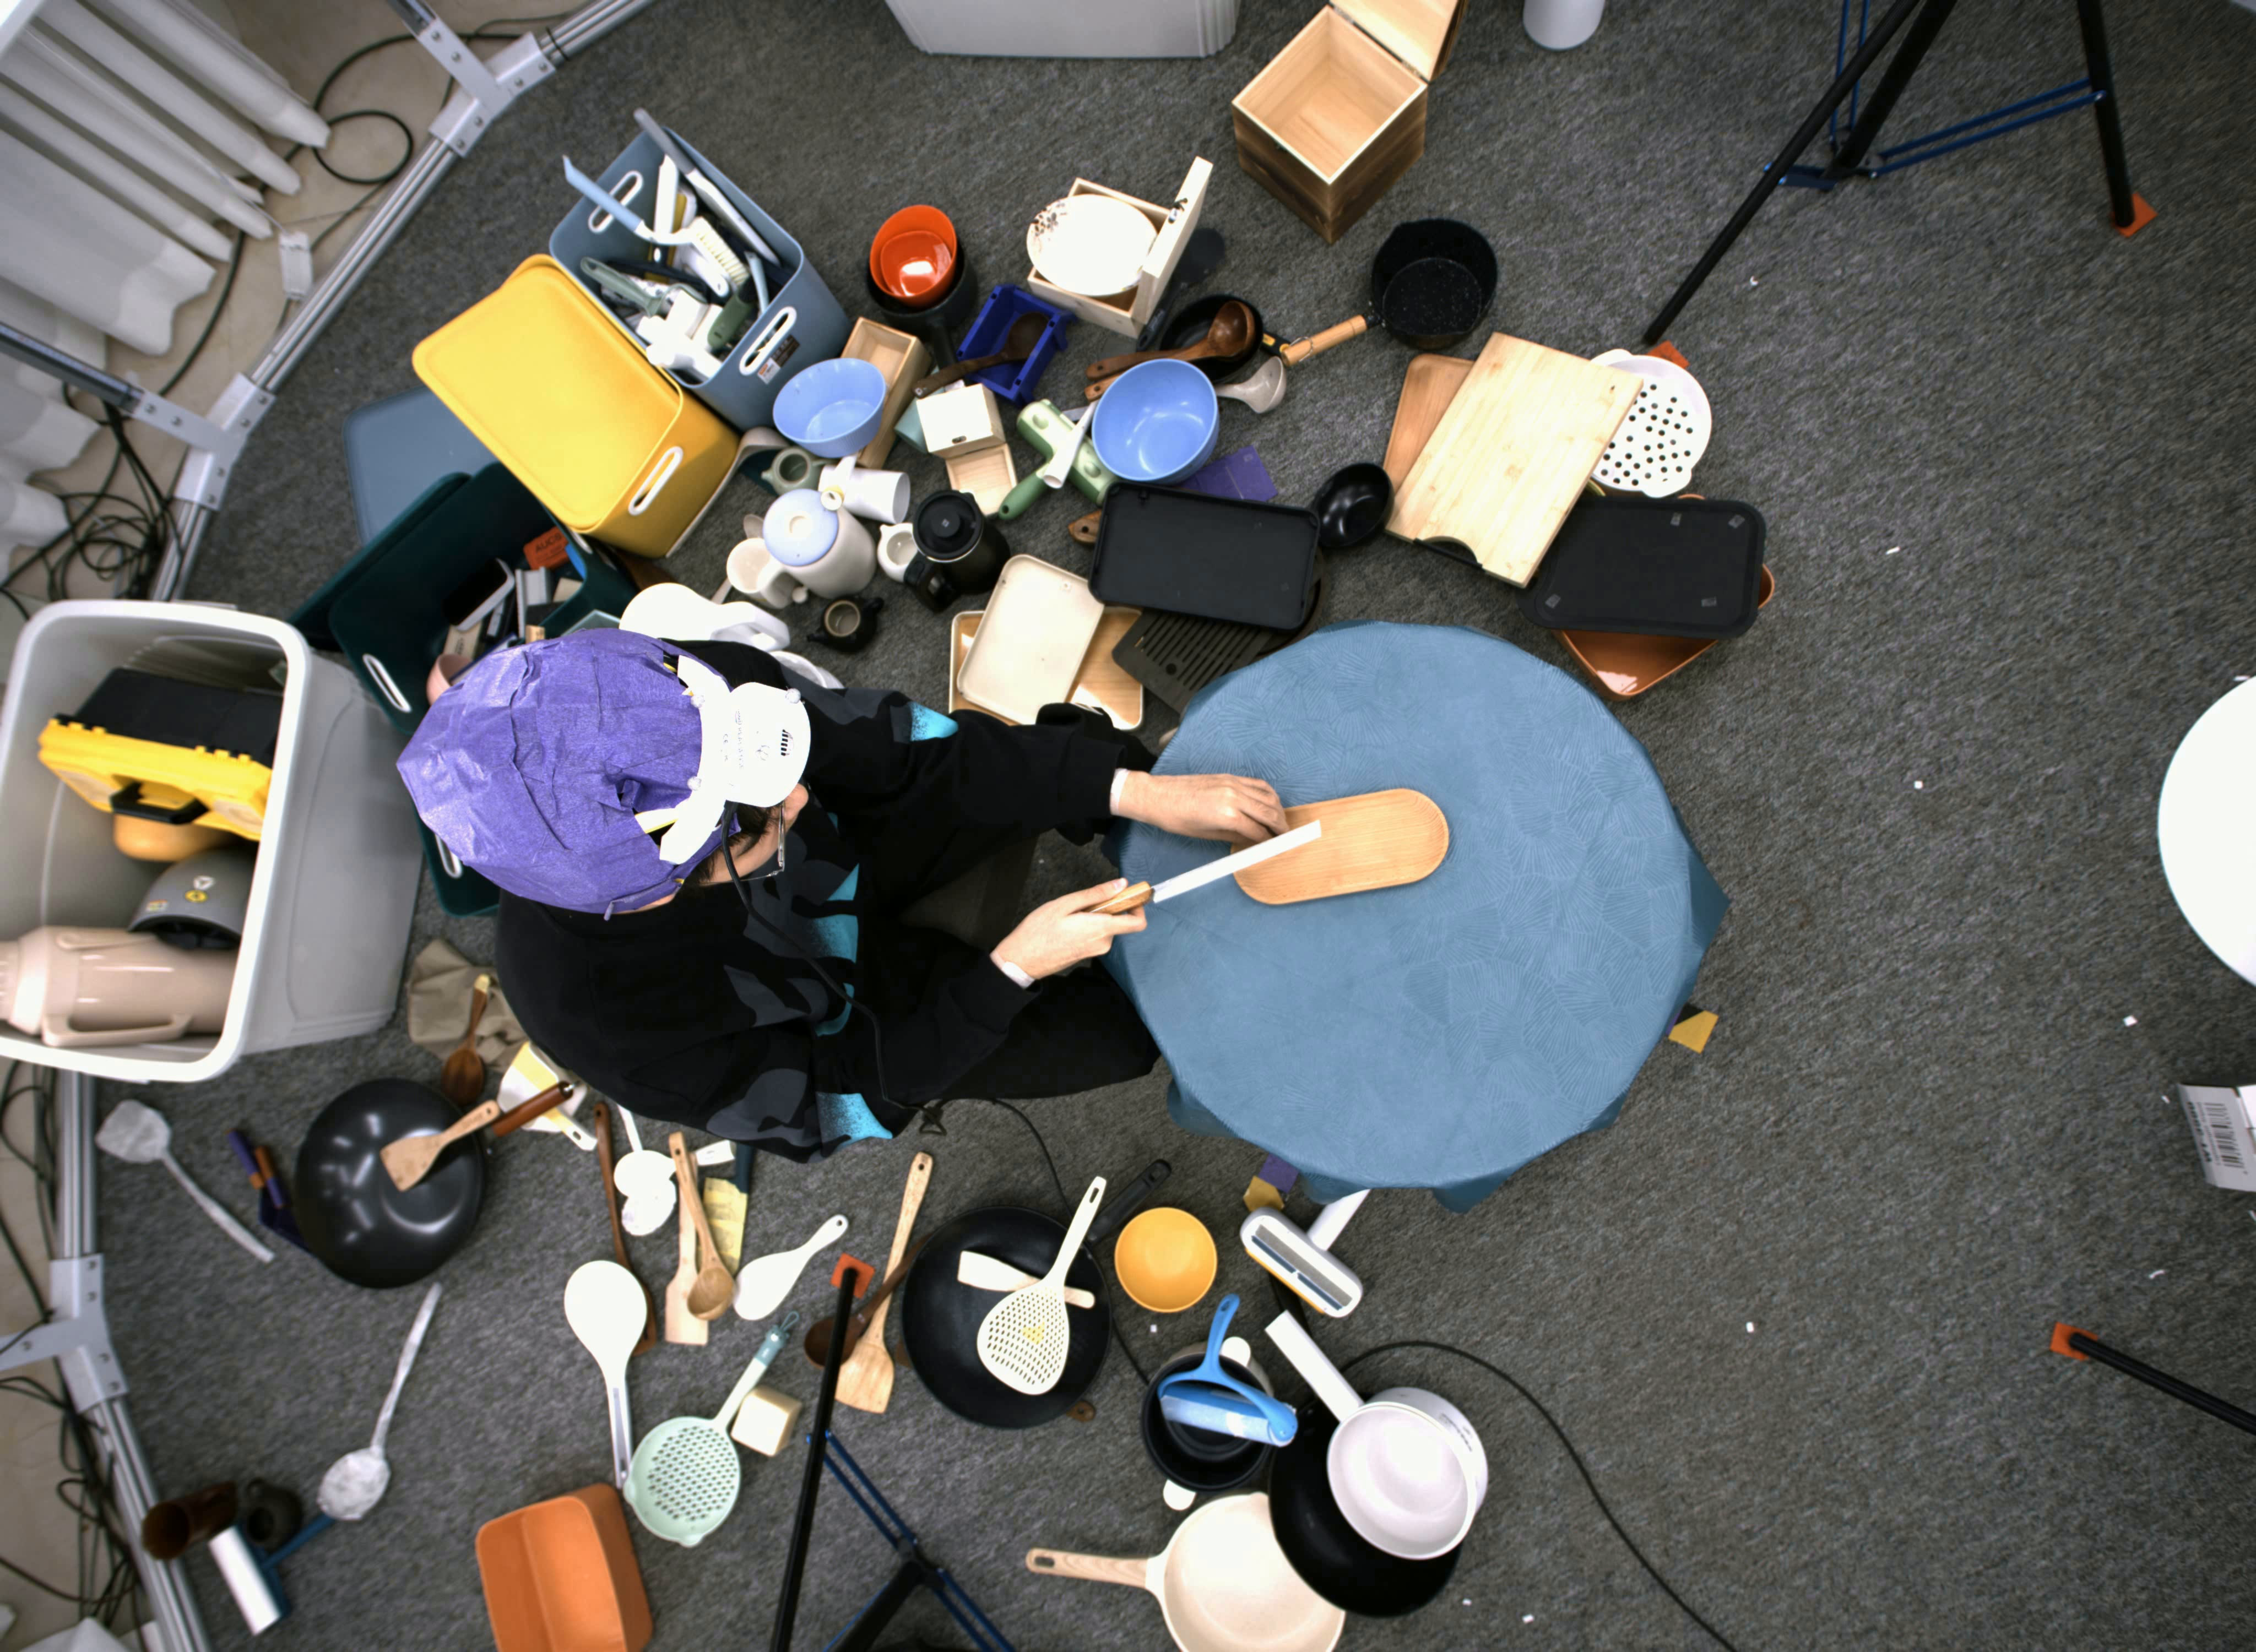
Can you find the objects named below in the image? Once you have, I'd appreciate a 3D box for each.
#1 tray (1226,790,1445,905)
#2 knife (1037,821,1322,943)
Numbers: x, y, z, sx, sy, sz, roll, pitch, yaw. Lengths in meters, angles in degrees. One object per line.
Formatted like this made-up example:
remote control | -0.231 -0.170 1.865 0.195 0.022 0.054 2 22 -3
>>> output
tray | 0.219 0.022 1.463 0.232 0.020 0.101 -10 84 11
knife | 0.056 0.058 1.425 0.307 0.093 0.021 -22 77 7
